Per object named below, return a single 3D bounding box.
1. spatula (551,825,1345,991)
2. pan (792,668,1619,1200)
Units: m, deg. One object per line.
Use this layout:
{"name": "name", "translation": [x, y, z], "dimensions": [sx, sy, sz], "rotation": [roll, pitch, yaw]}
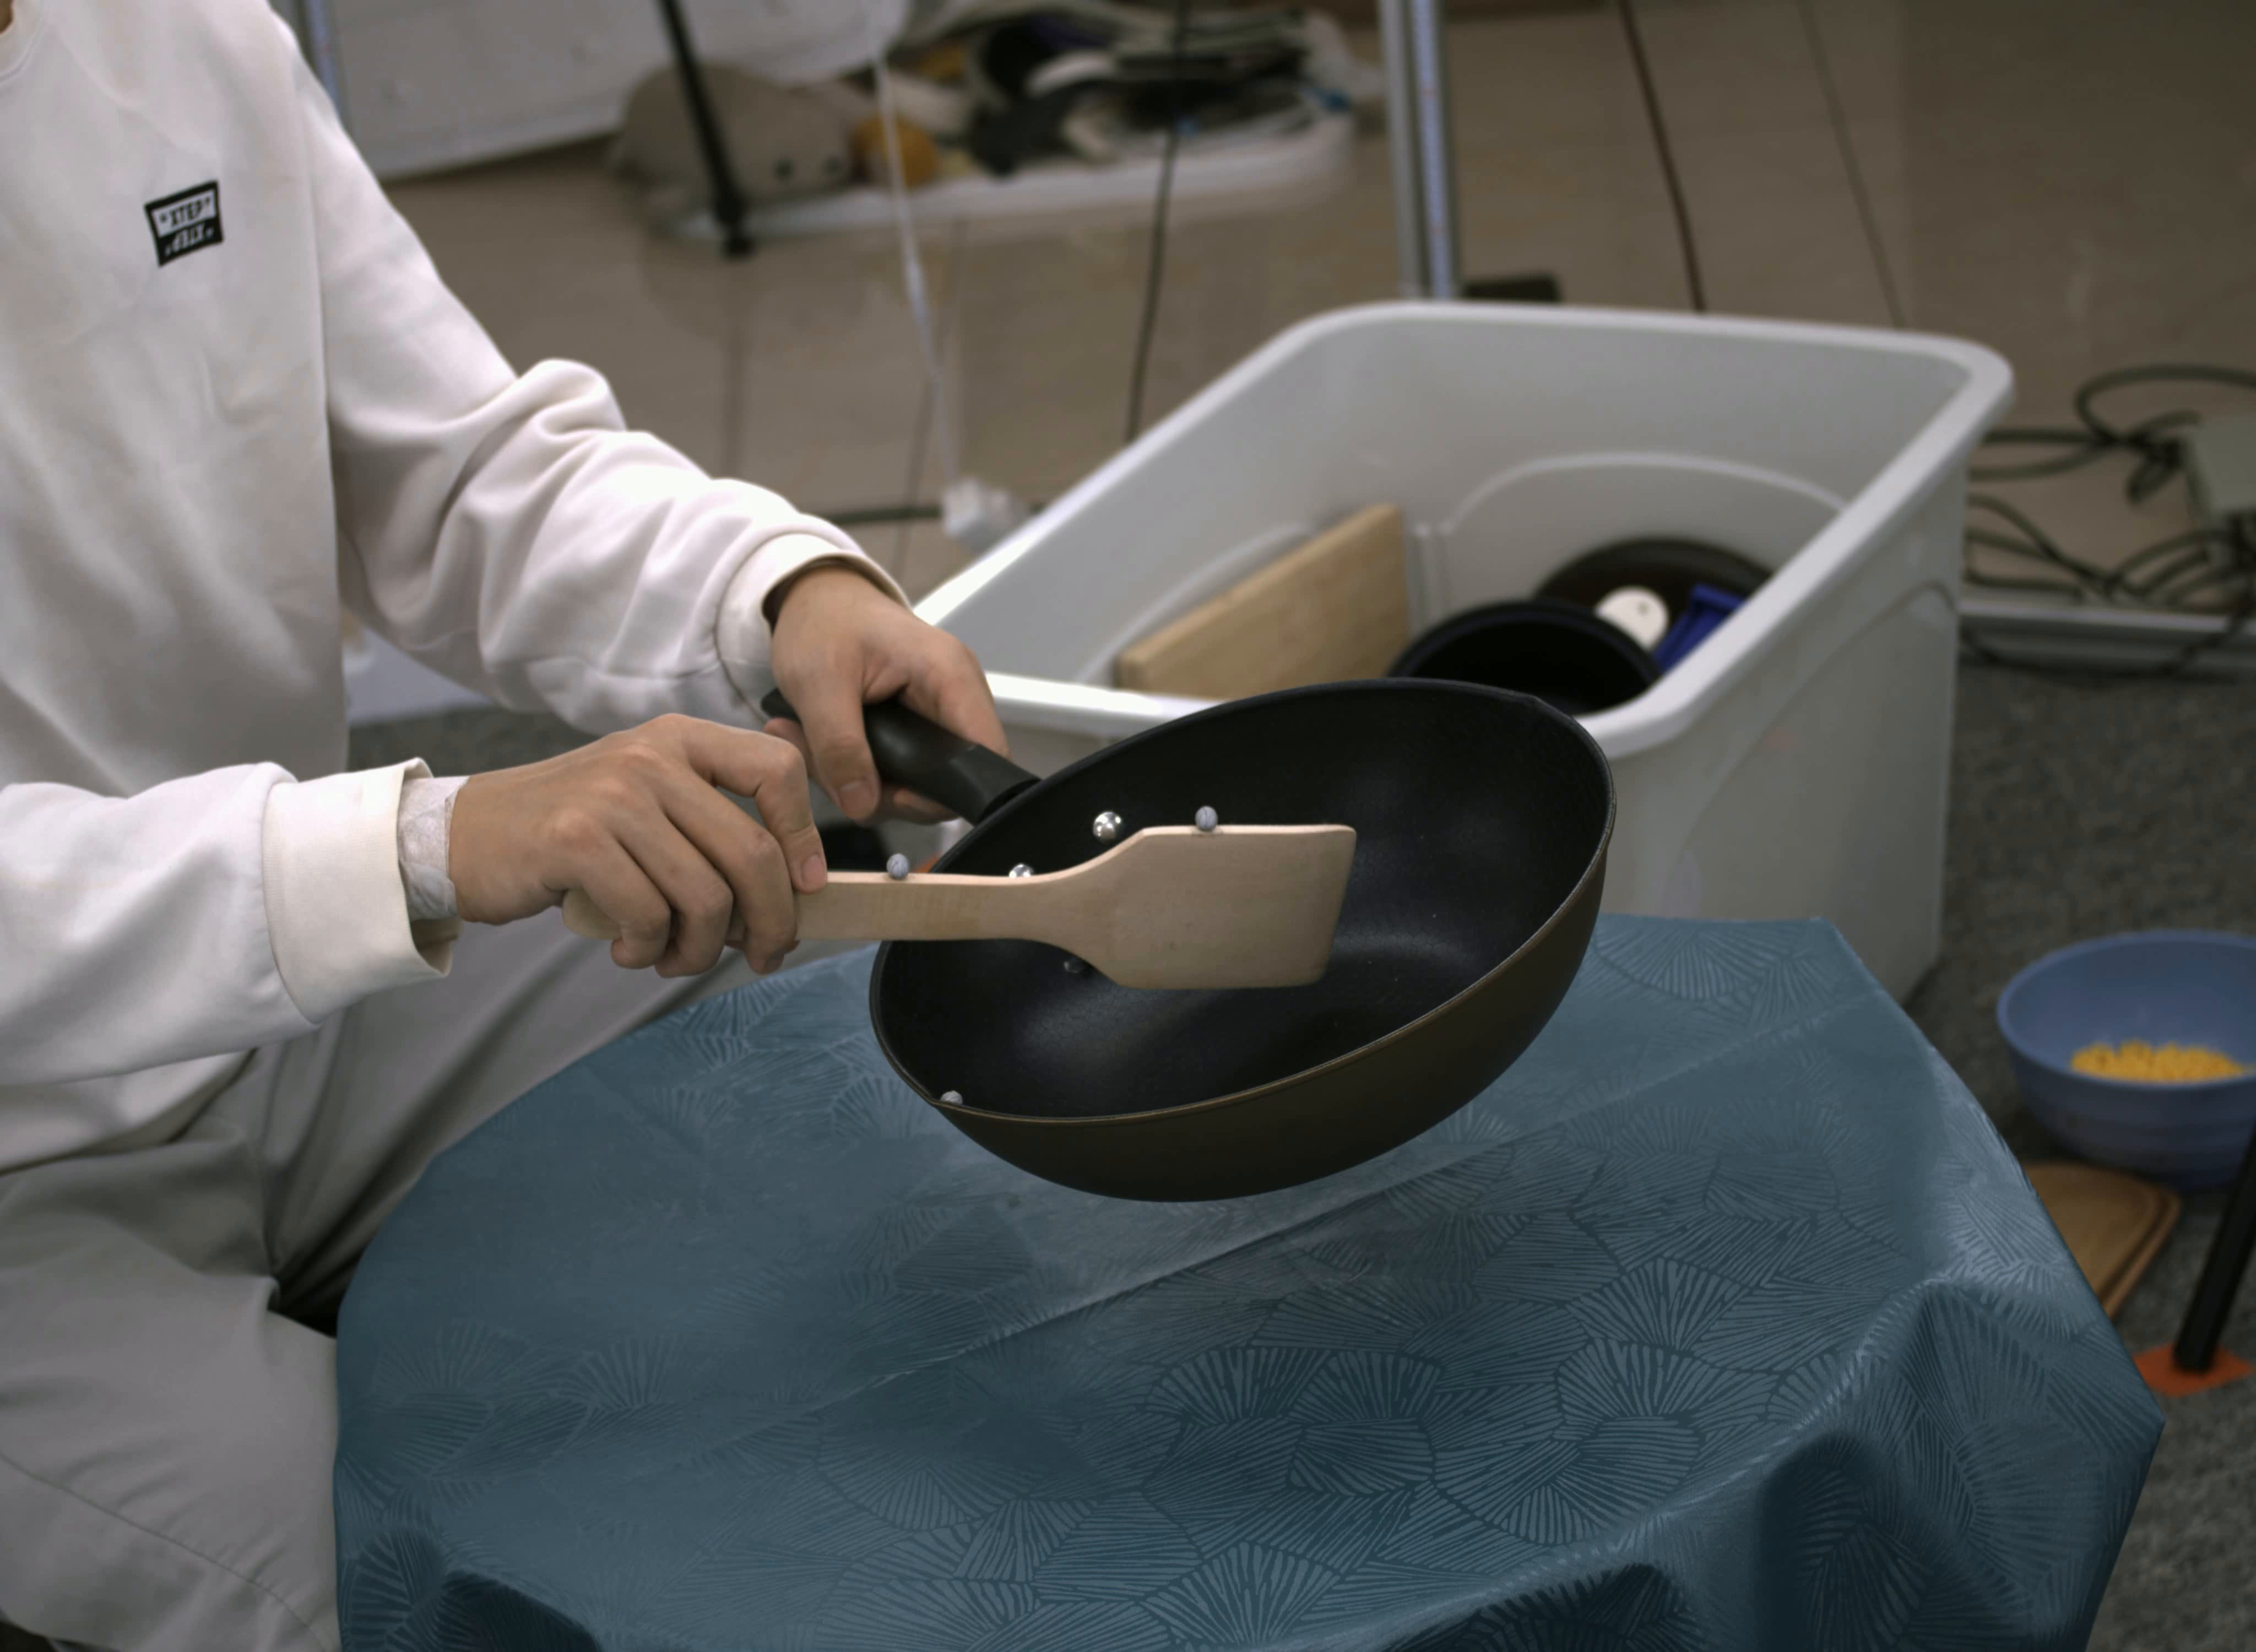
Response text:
{"name": "spatula", "translation": [-0.063, 0.028, 2.037], "dimensions": [0.293, 0.073, 0.010], "rotation": [1, 35, -18]}
{"name": "pan", "translation": [0.001, 0.030, 2.125], "dimensions": [0.286, 0.088, 0.459], "rotation": [-33, 30, -22]}
